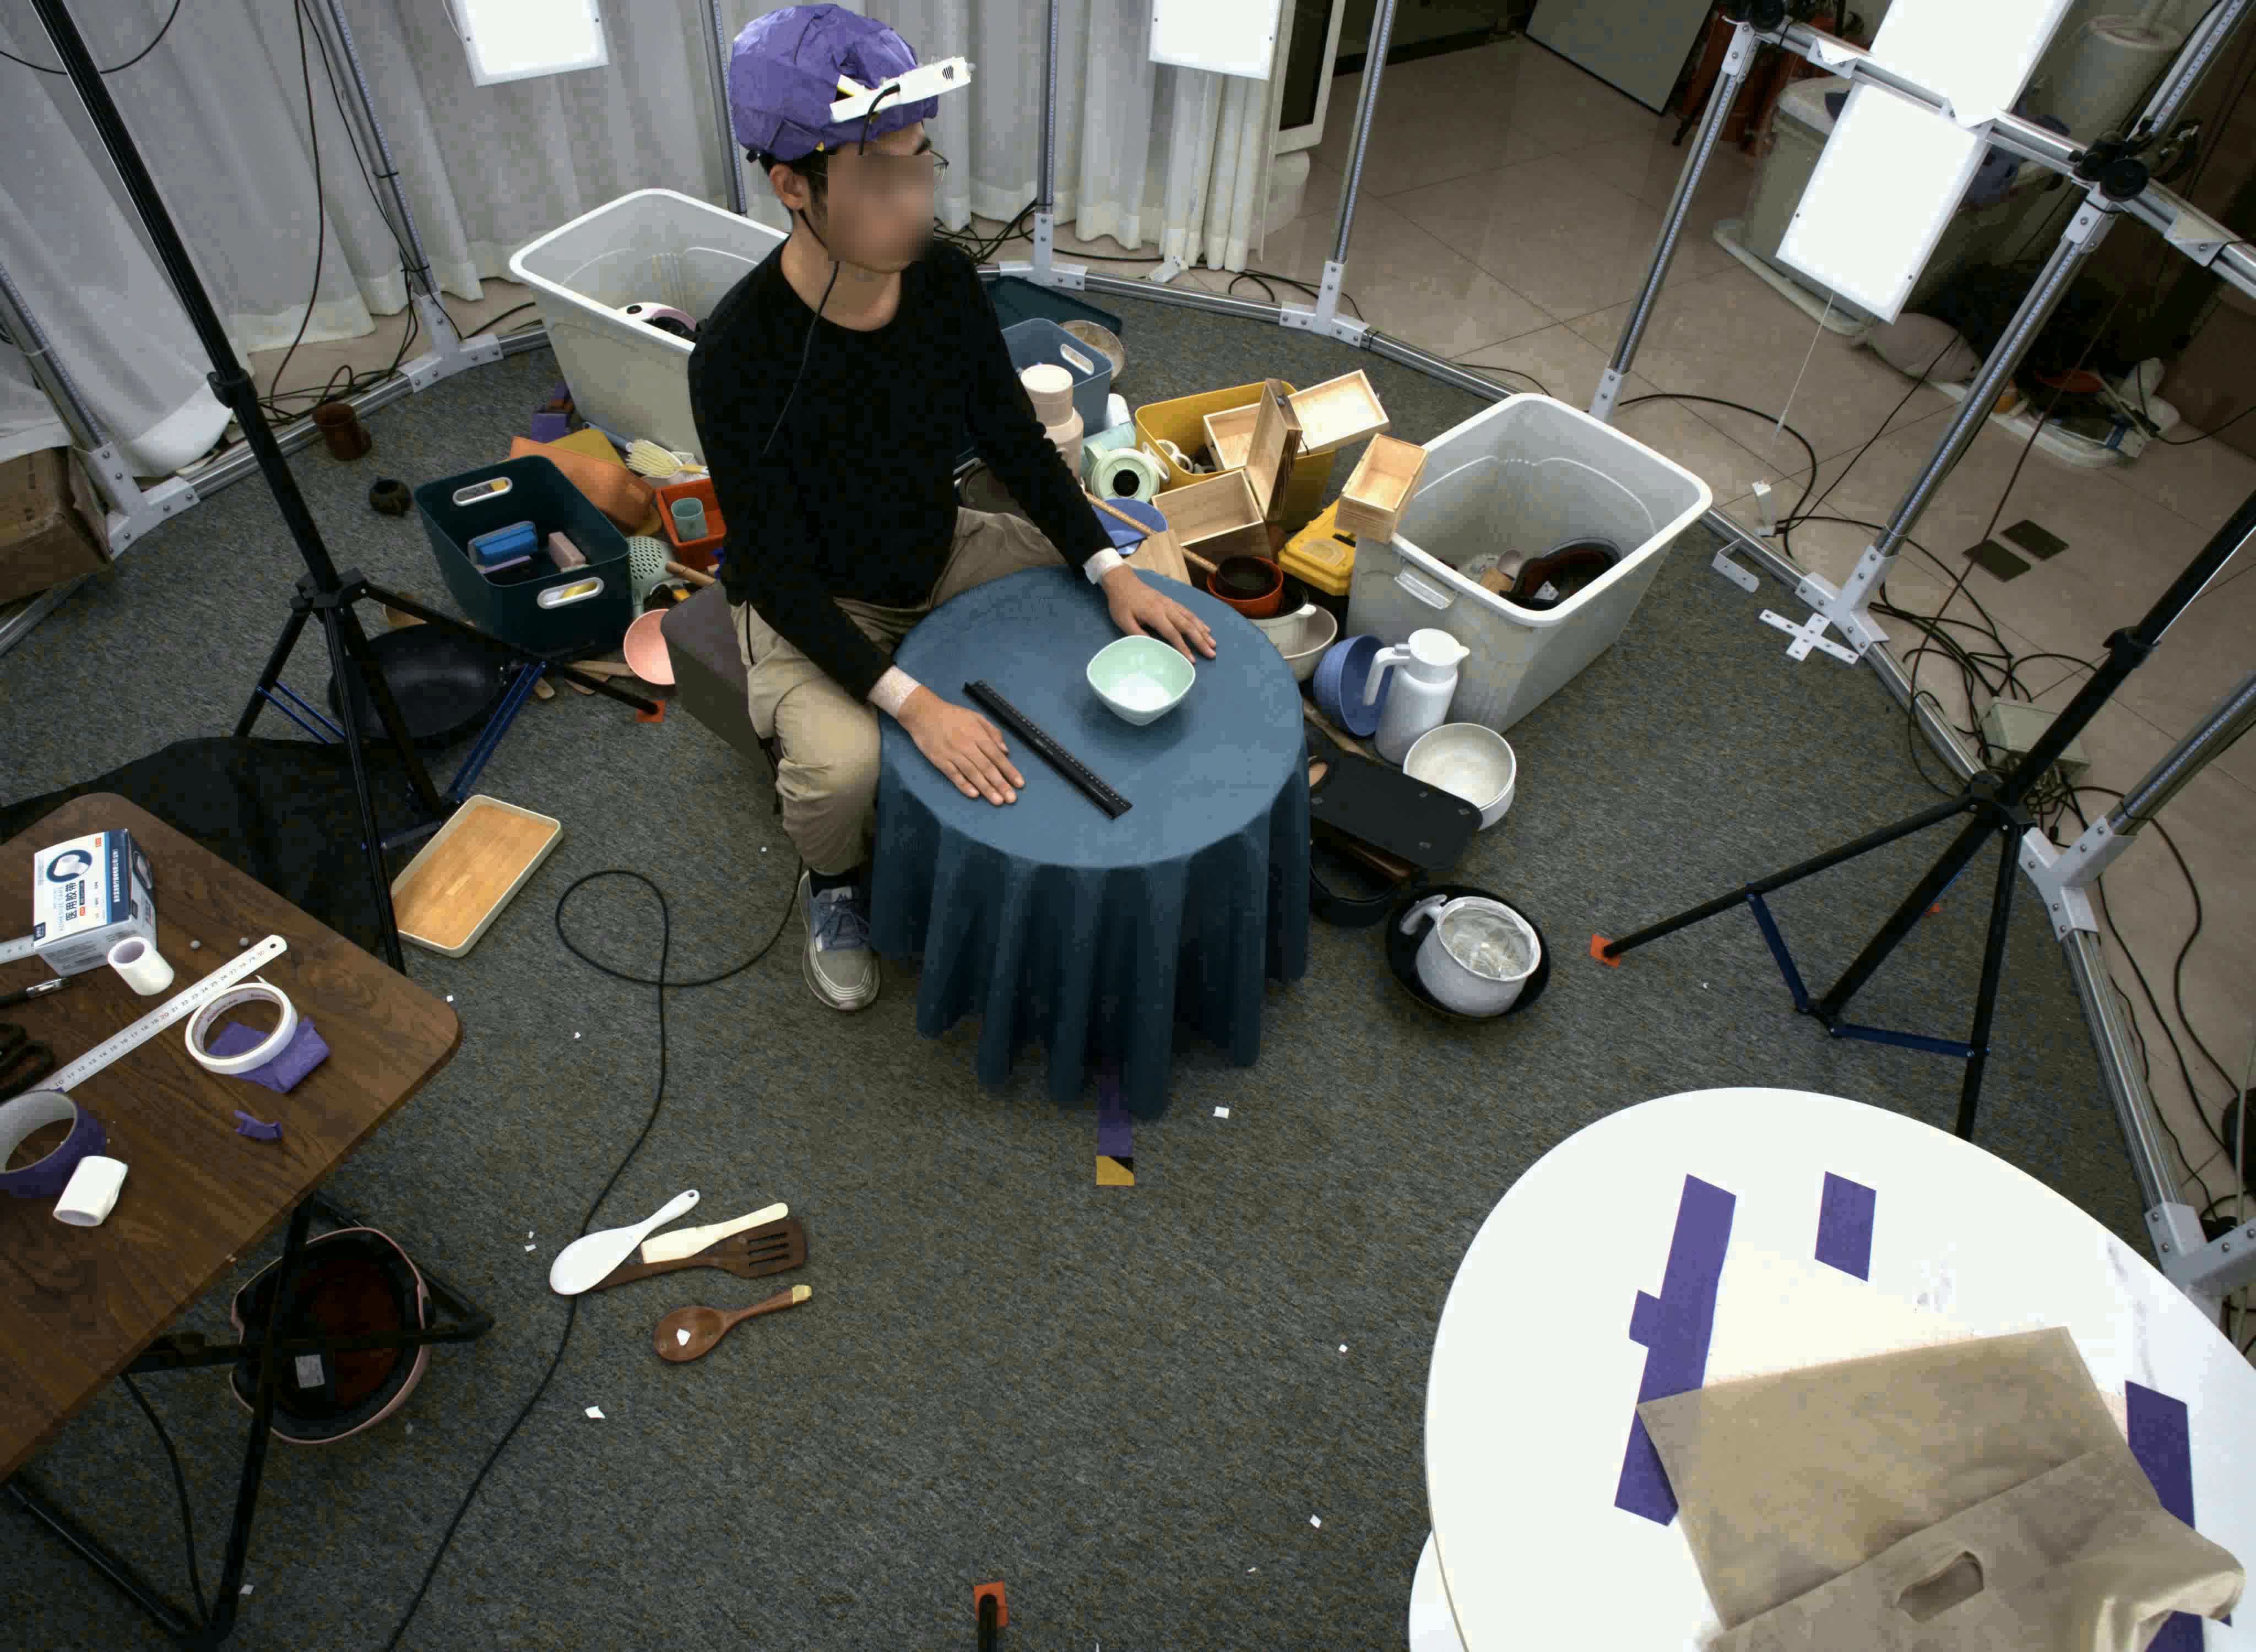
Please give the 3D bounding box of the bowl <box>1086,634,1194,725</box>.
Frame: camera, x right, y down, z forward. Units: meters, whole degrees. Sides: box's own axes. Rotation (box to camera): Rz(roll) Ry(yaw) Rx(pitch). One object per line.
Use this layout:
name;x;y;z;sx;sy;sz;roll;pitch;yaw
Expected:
bowl;0.016;-0.198;1.806;0.151;0.057;0.155;2;51;-3

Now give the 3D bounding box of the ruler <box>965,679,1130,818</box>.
ruler;-0.112;-0.114;1.752;0.039;0.017;0.317;-31;57;-31
